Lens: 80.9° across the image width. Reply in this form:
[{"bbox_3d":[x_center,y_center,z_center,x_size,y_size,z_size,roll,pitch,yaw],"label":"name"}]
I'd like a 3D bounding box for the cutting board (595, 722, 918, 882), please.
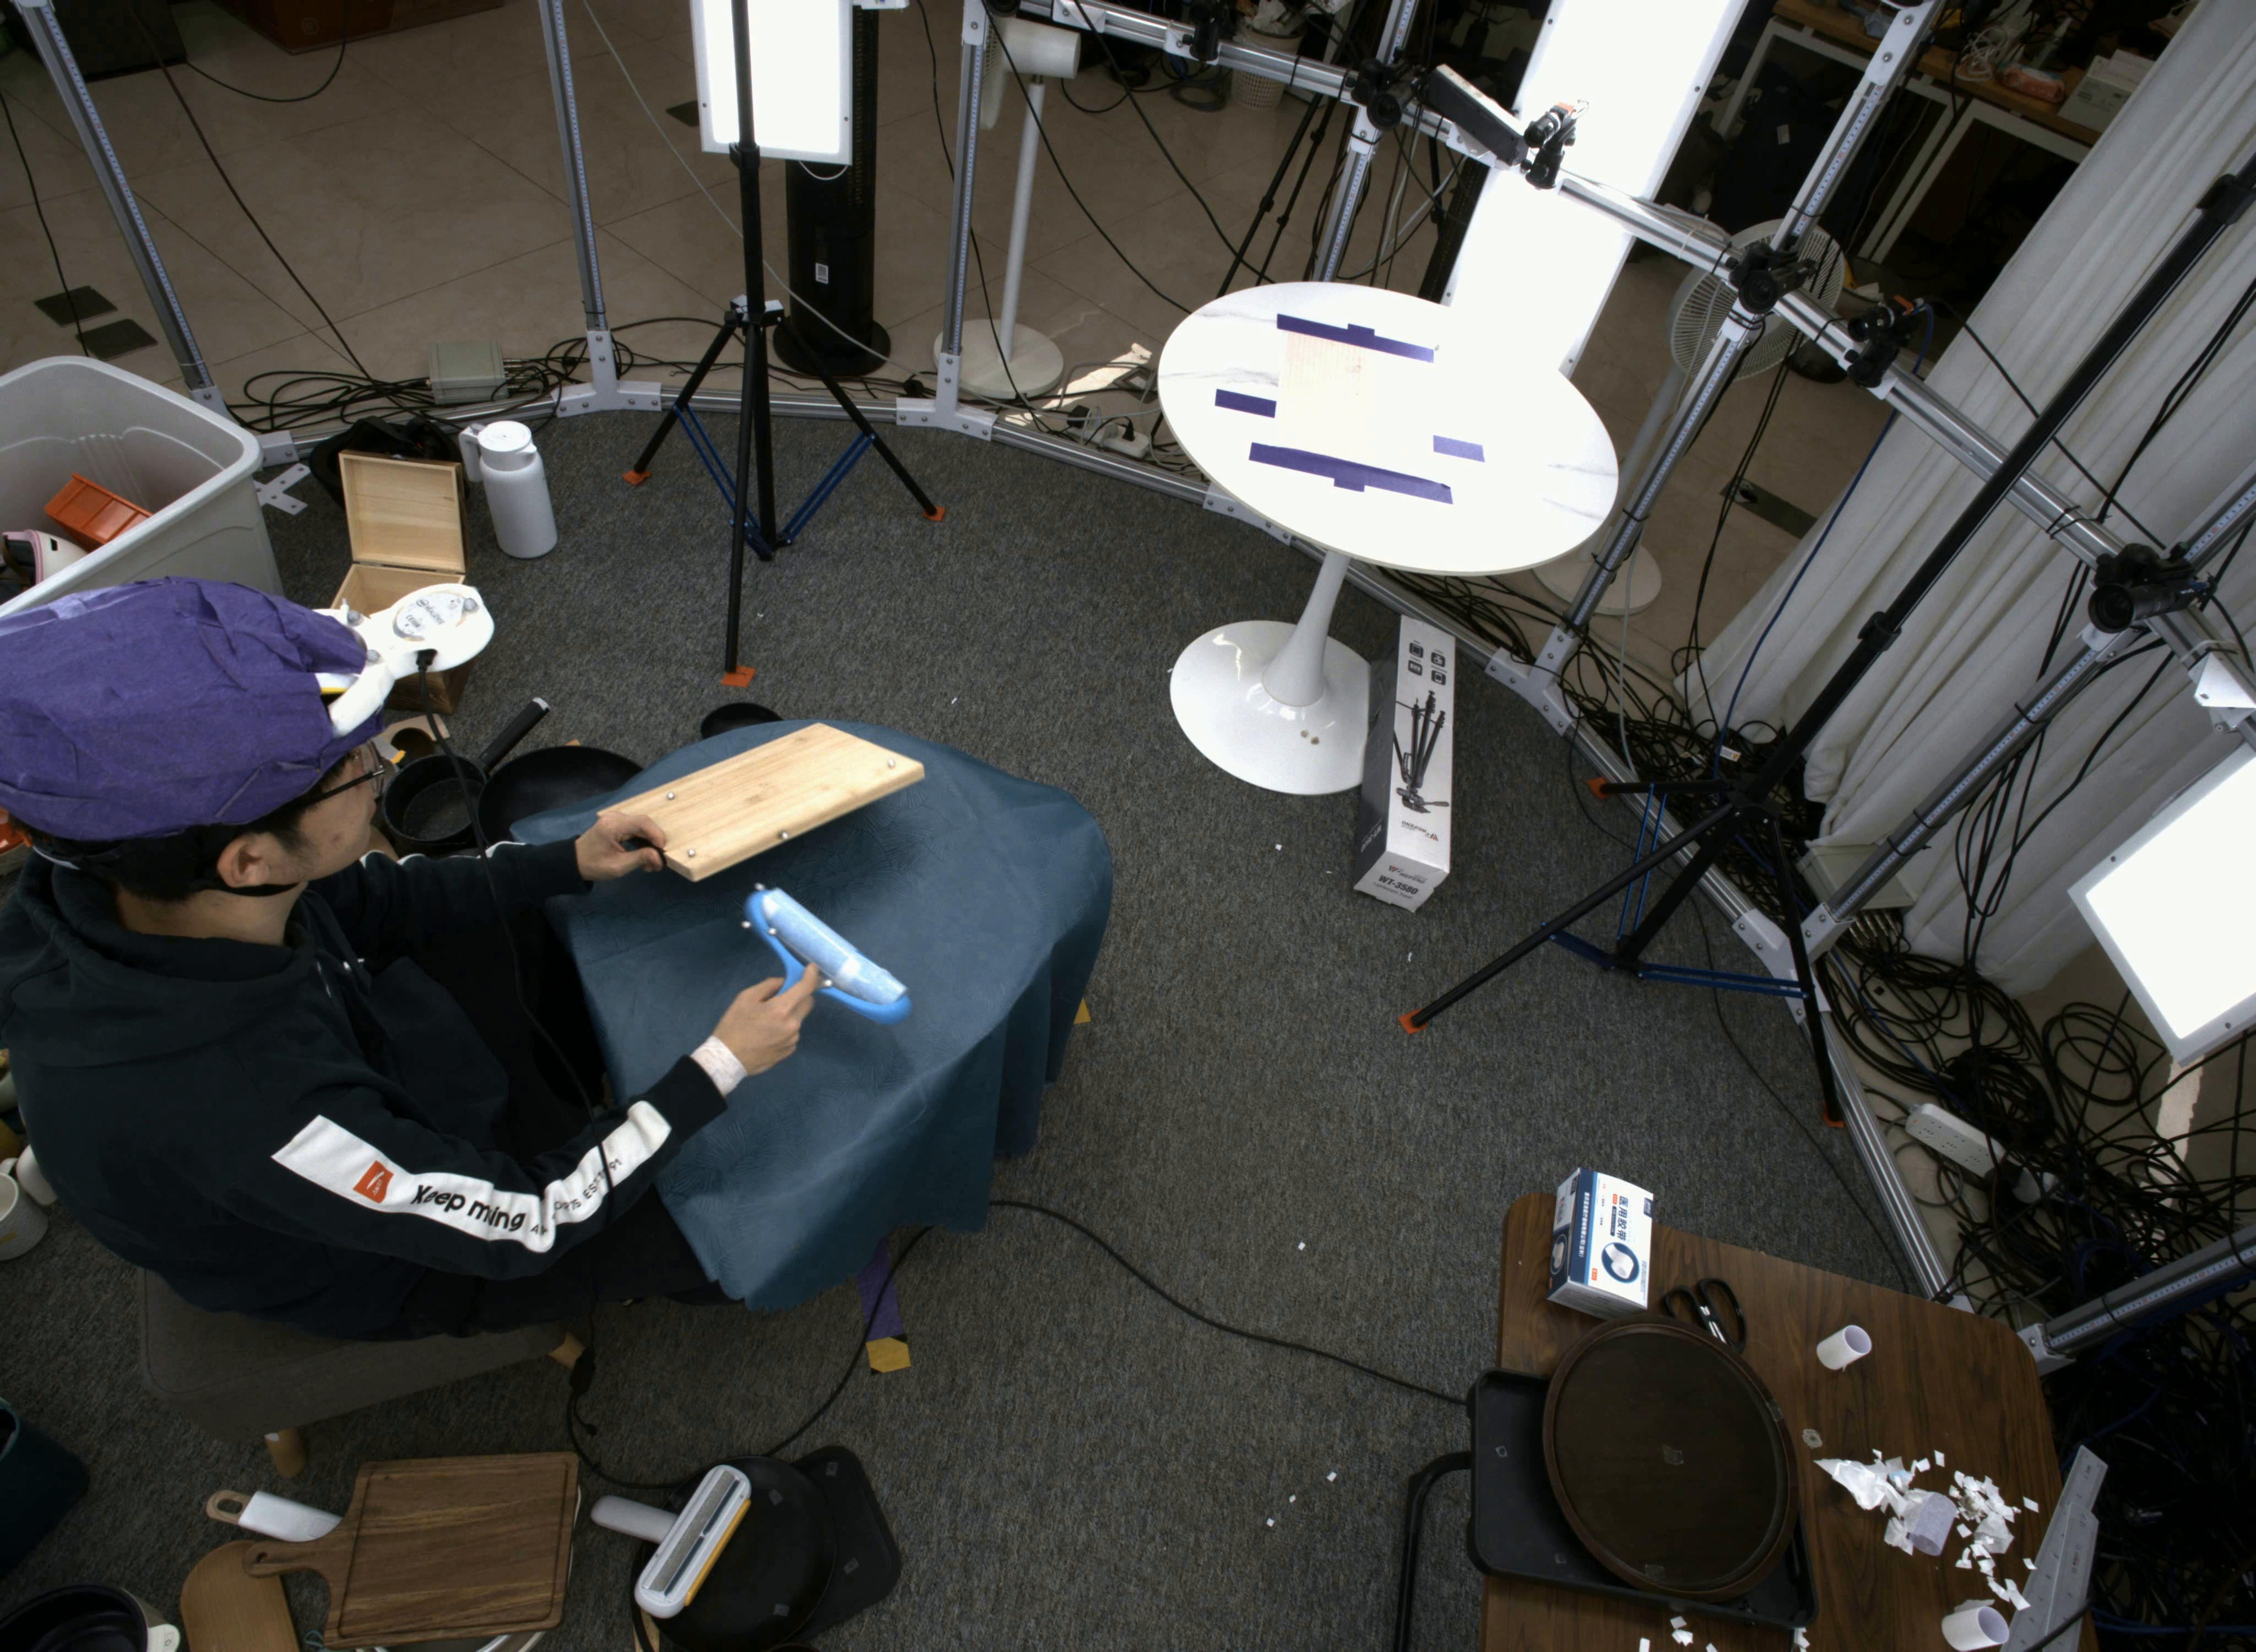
[{"bbox_3d":[-0.470,-0.041,1.641,0.241,0.024,0.350,18,36,39],"label":"cutting board"}]

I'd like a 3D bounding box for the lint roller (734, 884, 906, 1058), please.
[{"bbox_3d":[-0.378,0.181,1.464,0.230,0.068,0.179,37,50,-7],"label":"lint roller"}]
